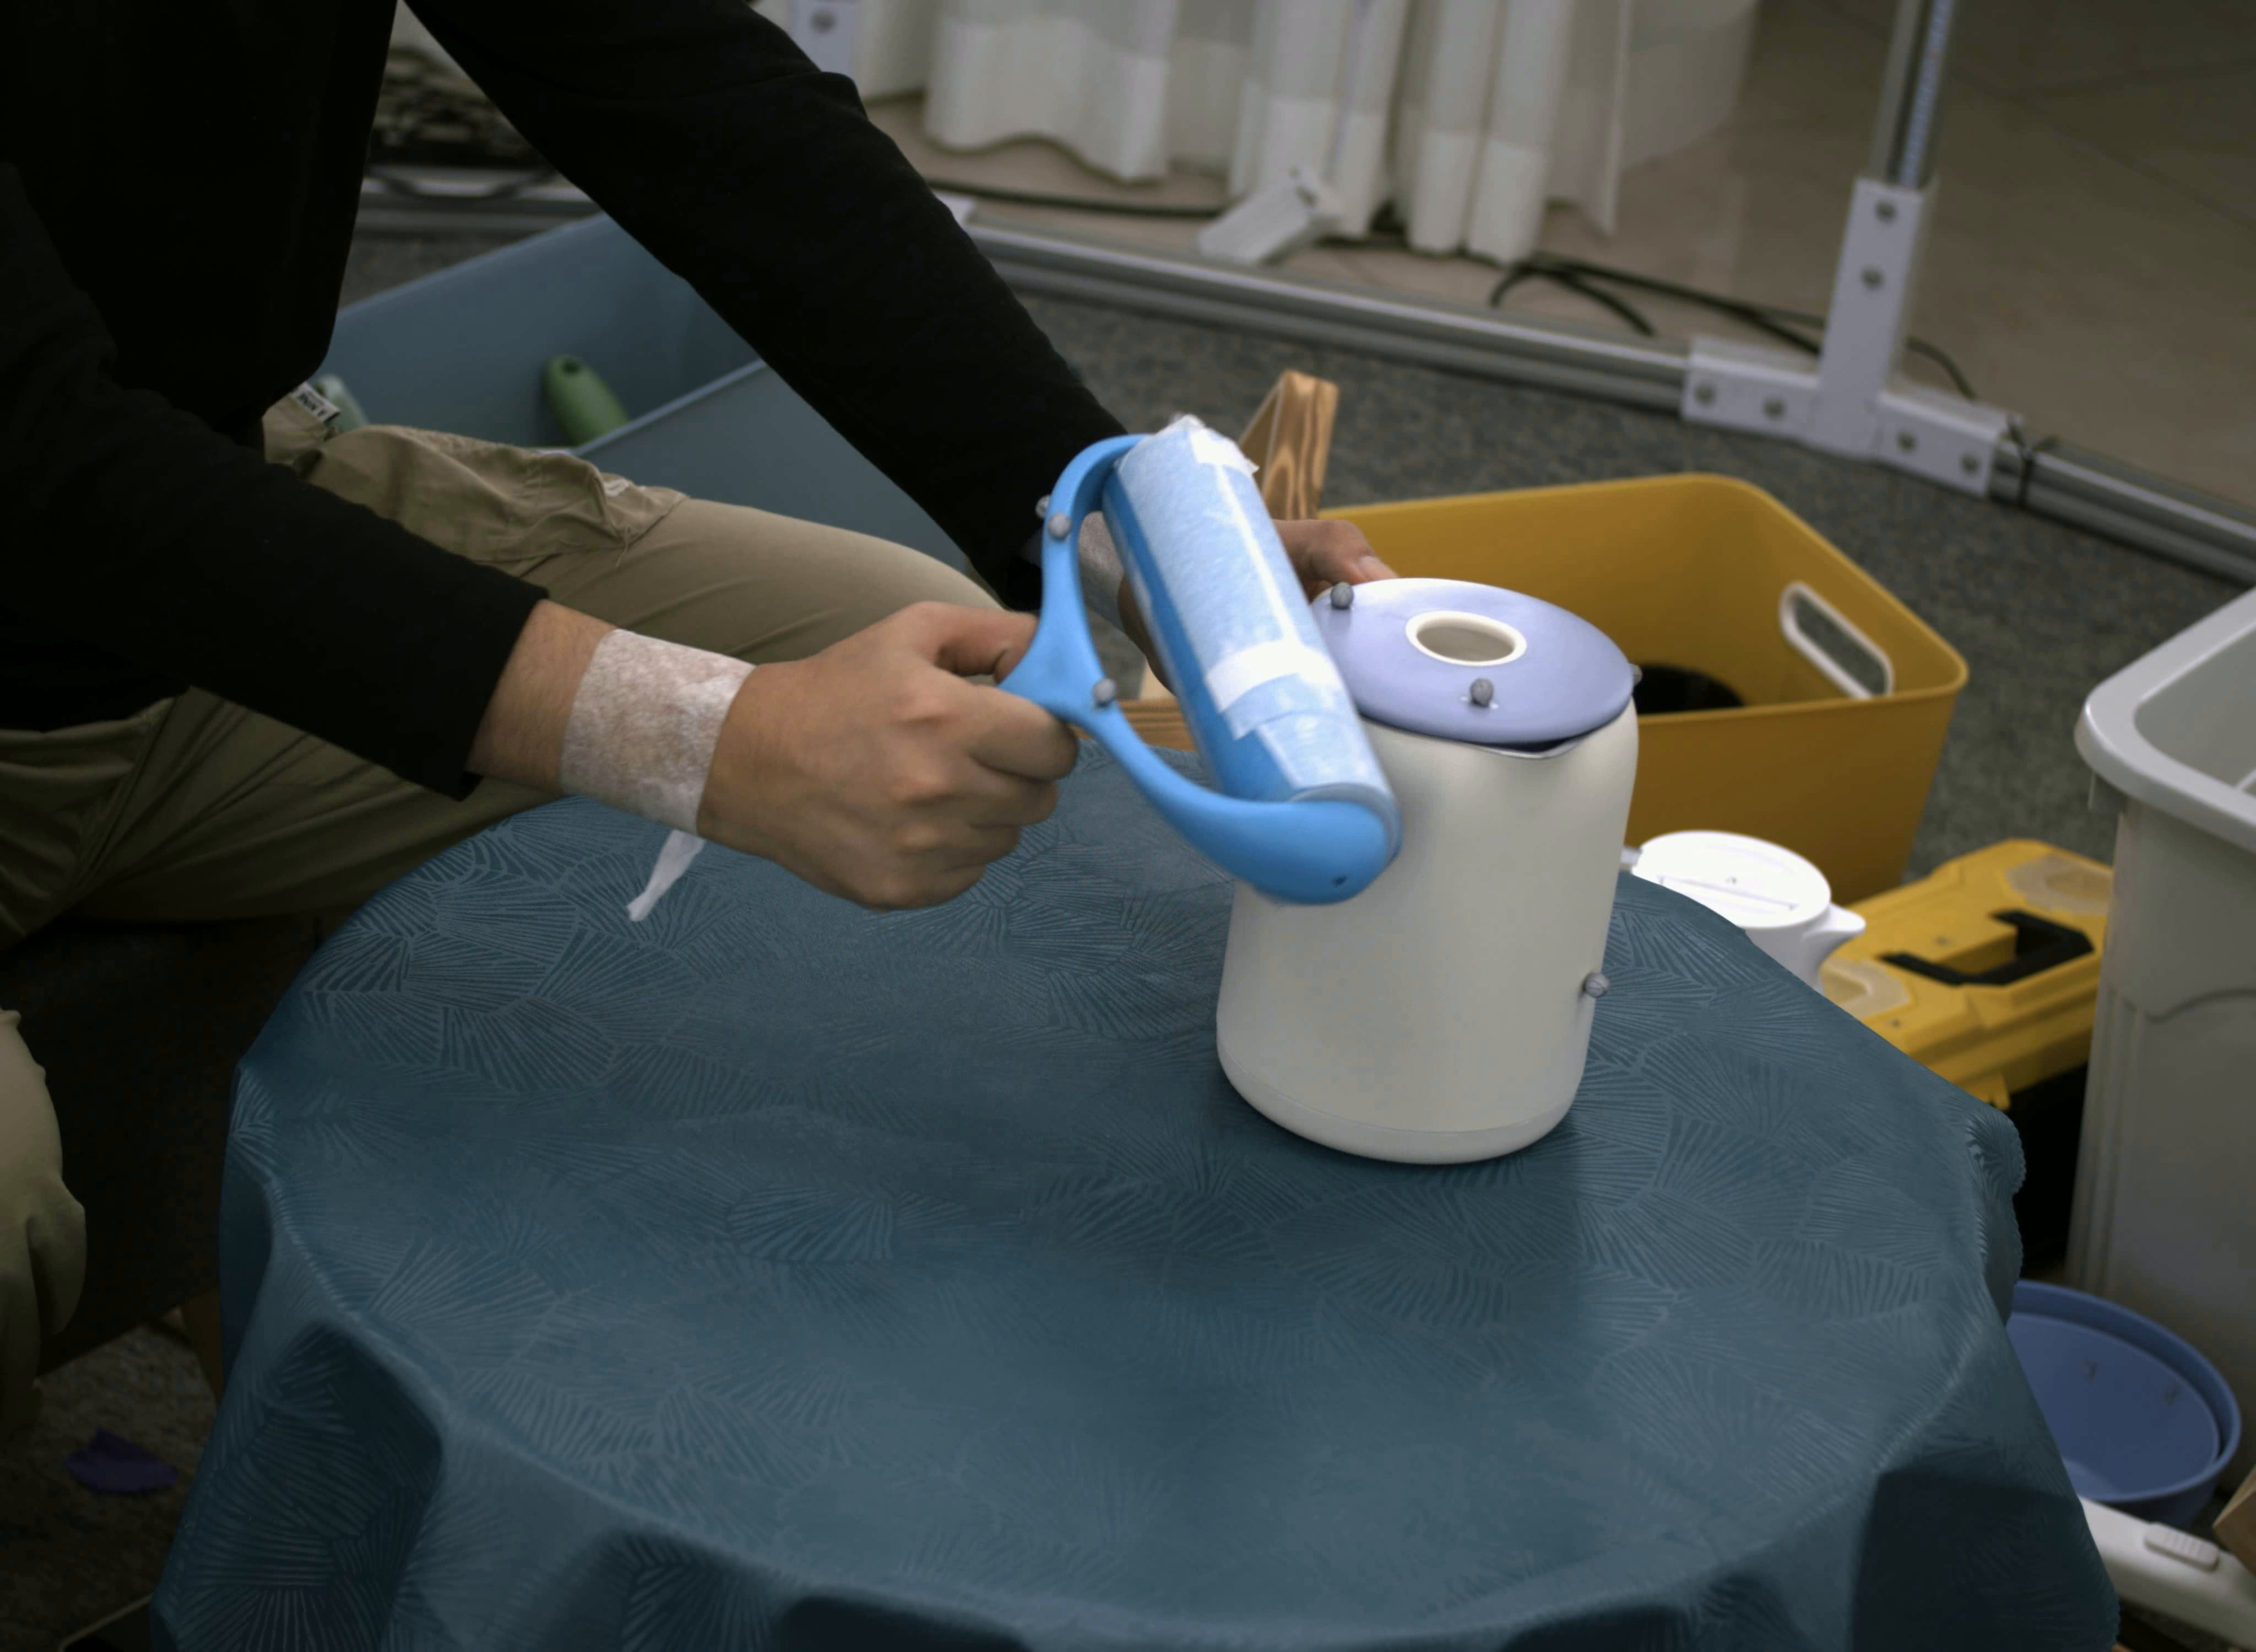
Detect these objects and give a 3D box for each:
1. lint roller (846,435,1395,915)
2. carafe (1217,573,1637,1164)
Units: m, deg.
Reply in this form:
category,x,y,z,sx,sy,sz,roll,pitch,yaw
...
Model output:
category,x,y,z,sx,sy,sz,roll,pitch,yaw
lint roller,-0.017,-0.031,1.778,0.180,0.067,0.231,-22,44,0
carafe,0.094,0.003,1.869,0.131,0.182,0.193,-5,27,-23
